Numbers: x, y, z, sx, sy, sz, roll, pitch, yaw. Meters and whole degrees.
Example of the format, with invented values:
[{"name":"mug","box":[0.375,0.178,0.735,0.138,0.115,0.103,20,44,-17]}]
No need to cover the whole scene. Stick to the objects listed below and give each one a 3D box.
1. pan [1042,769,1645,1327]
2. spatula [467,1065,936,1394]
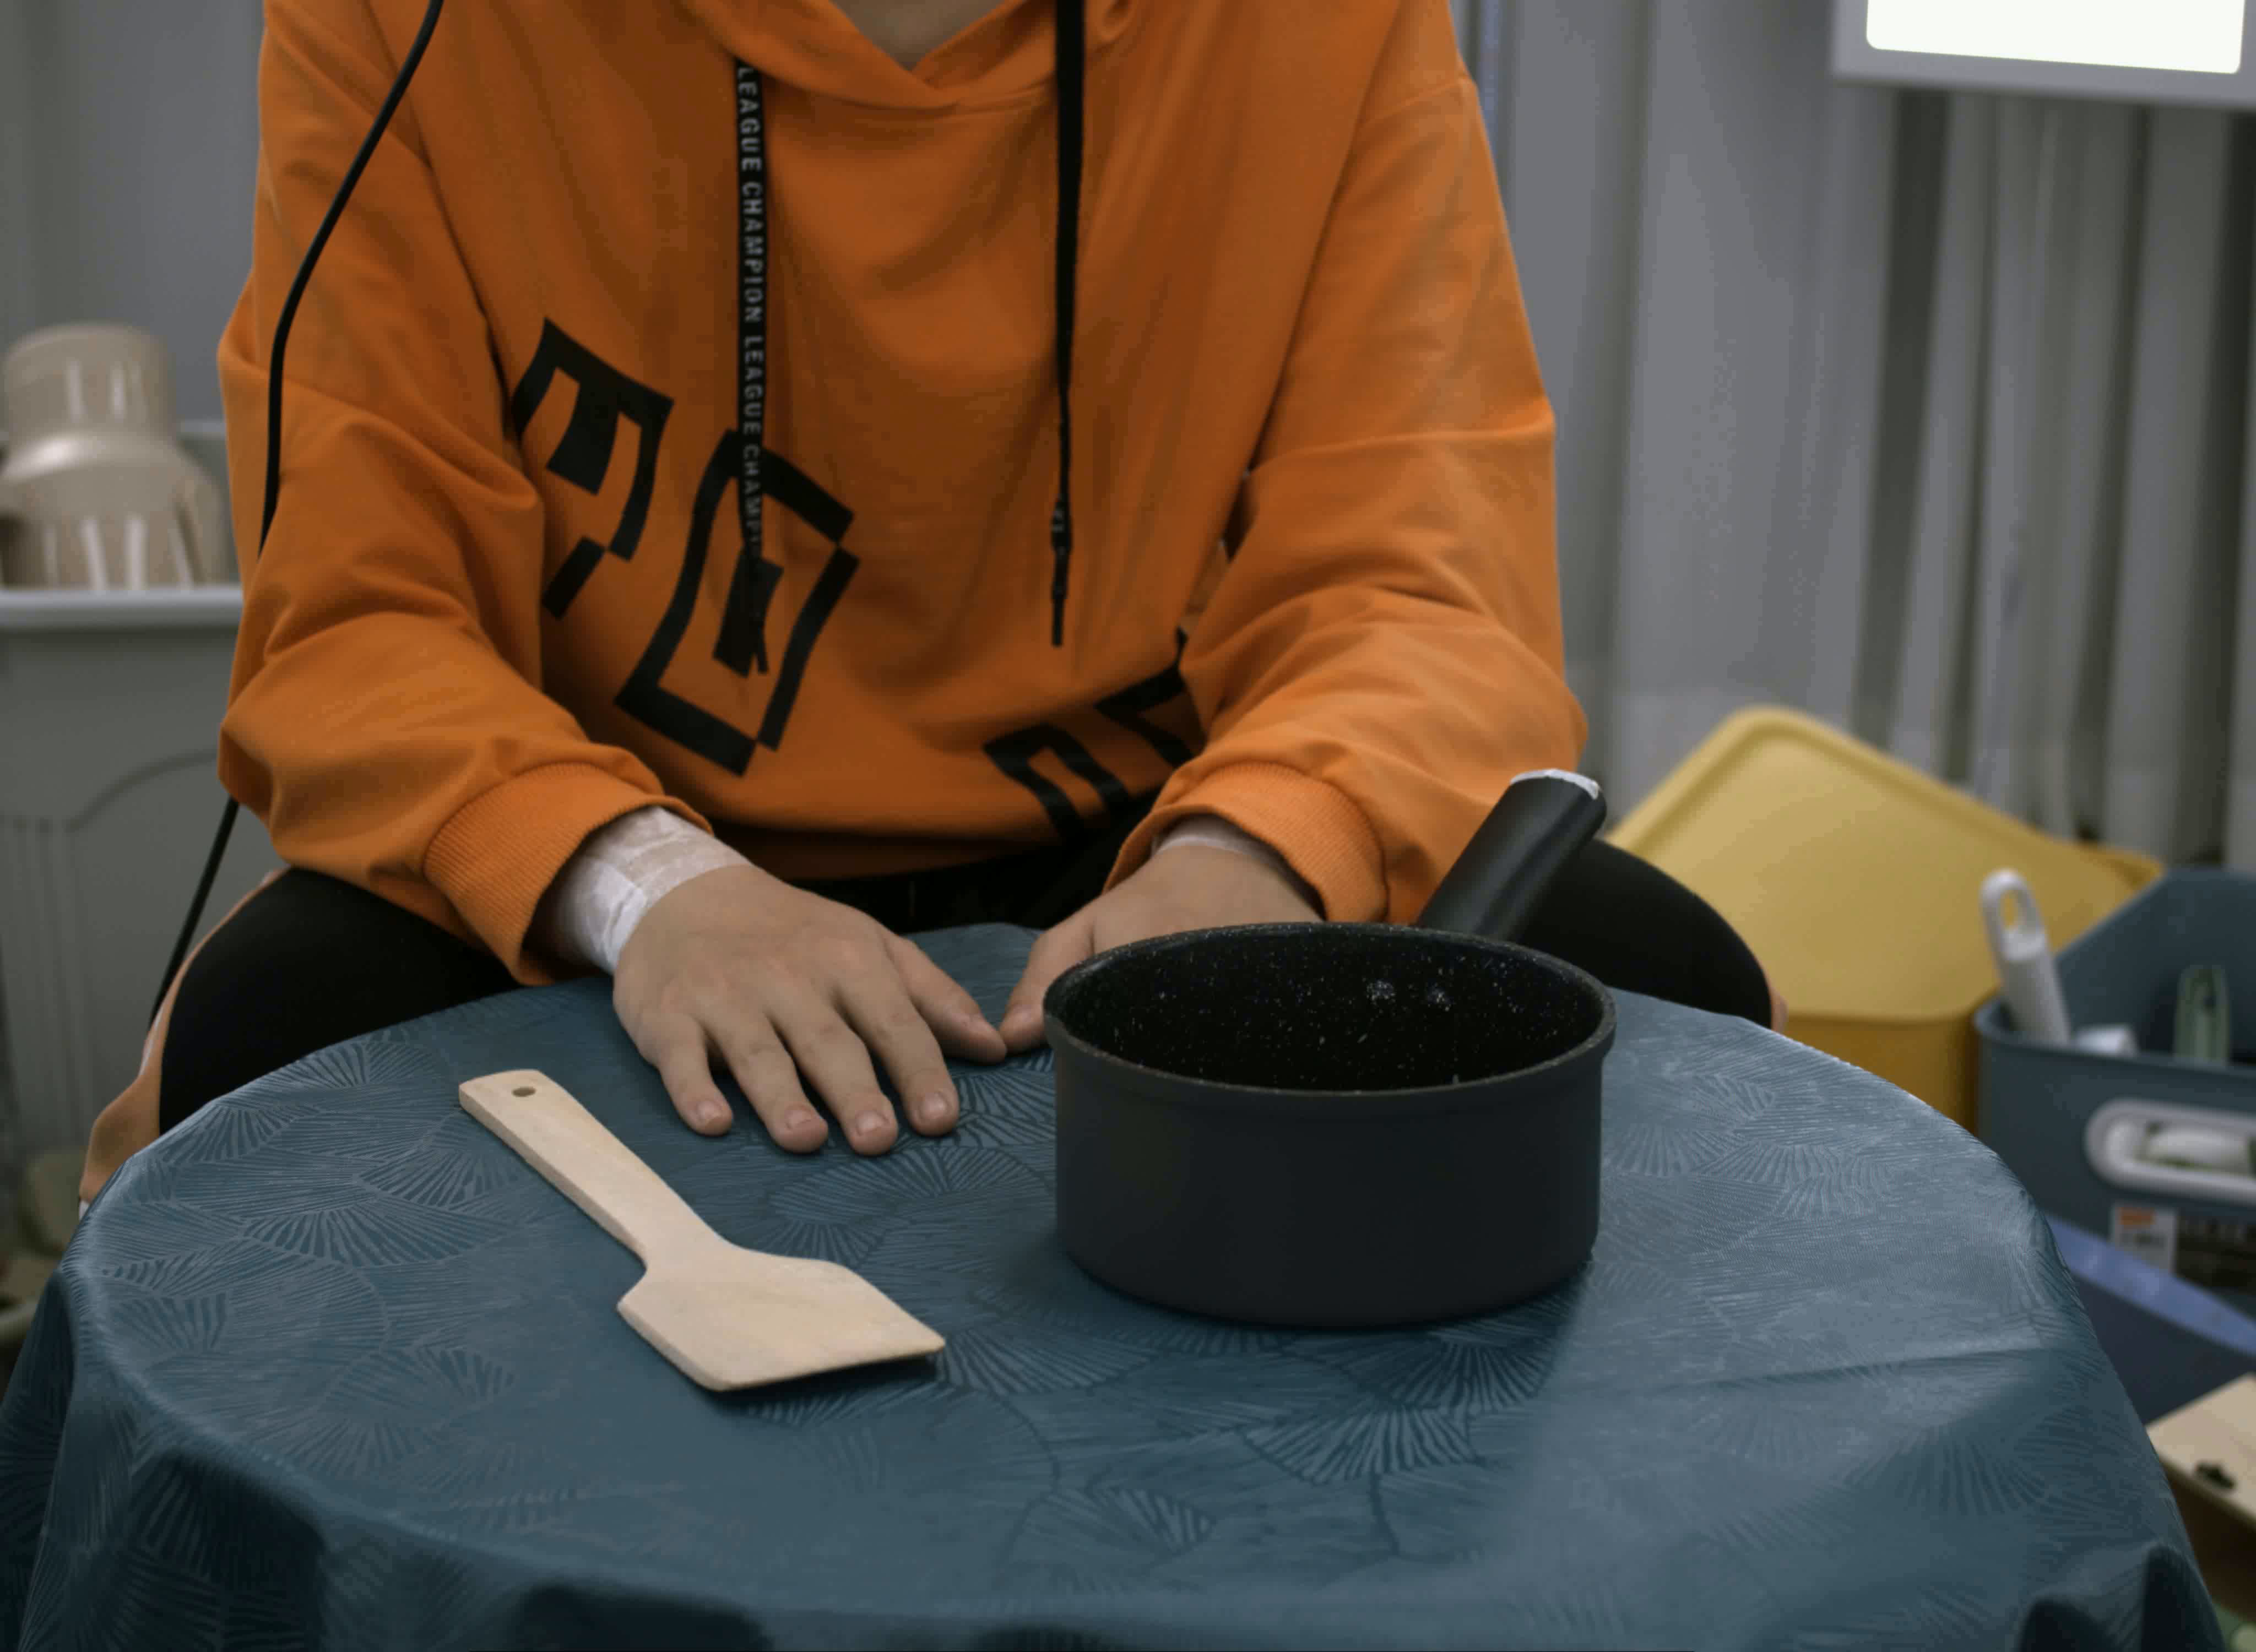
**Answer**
[{"name":"pan","box":[0.091,0.065,1.639,0.170,0.087,0.329,8,19,22]},{"name":"spatula","box":[-0.144,0.117,1.584,0.072,0.011,0.289,-10,19,-23]}]
